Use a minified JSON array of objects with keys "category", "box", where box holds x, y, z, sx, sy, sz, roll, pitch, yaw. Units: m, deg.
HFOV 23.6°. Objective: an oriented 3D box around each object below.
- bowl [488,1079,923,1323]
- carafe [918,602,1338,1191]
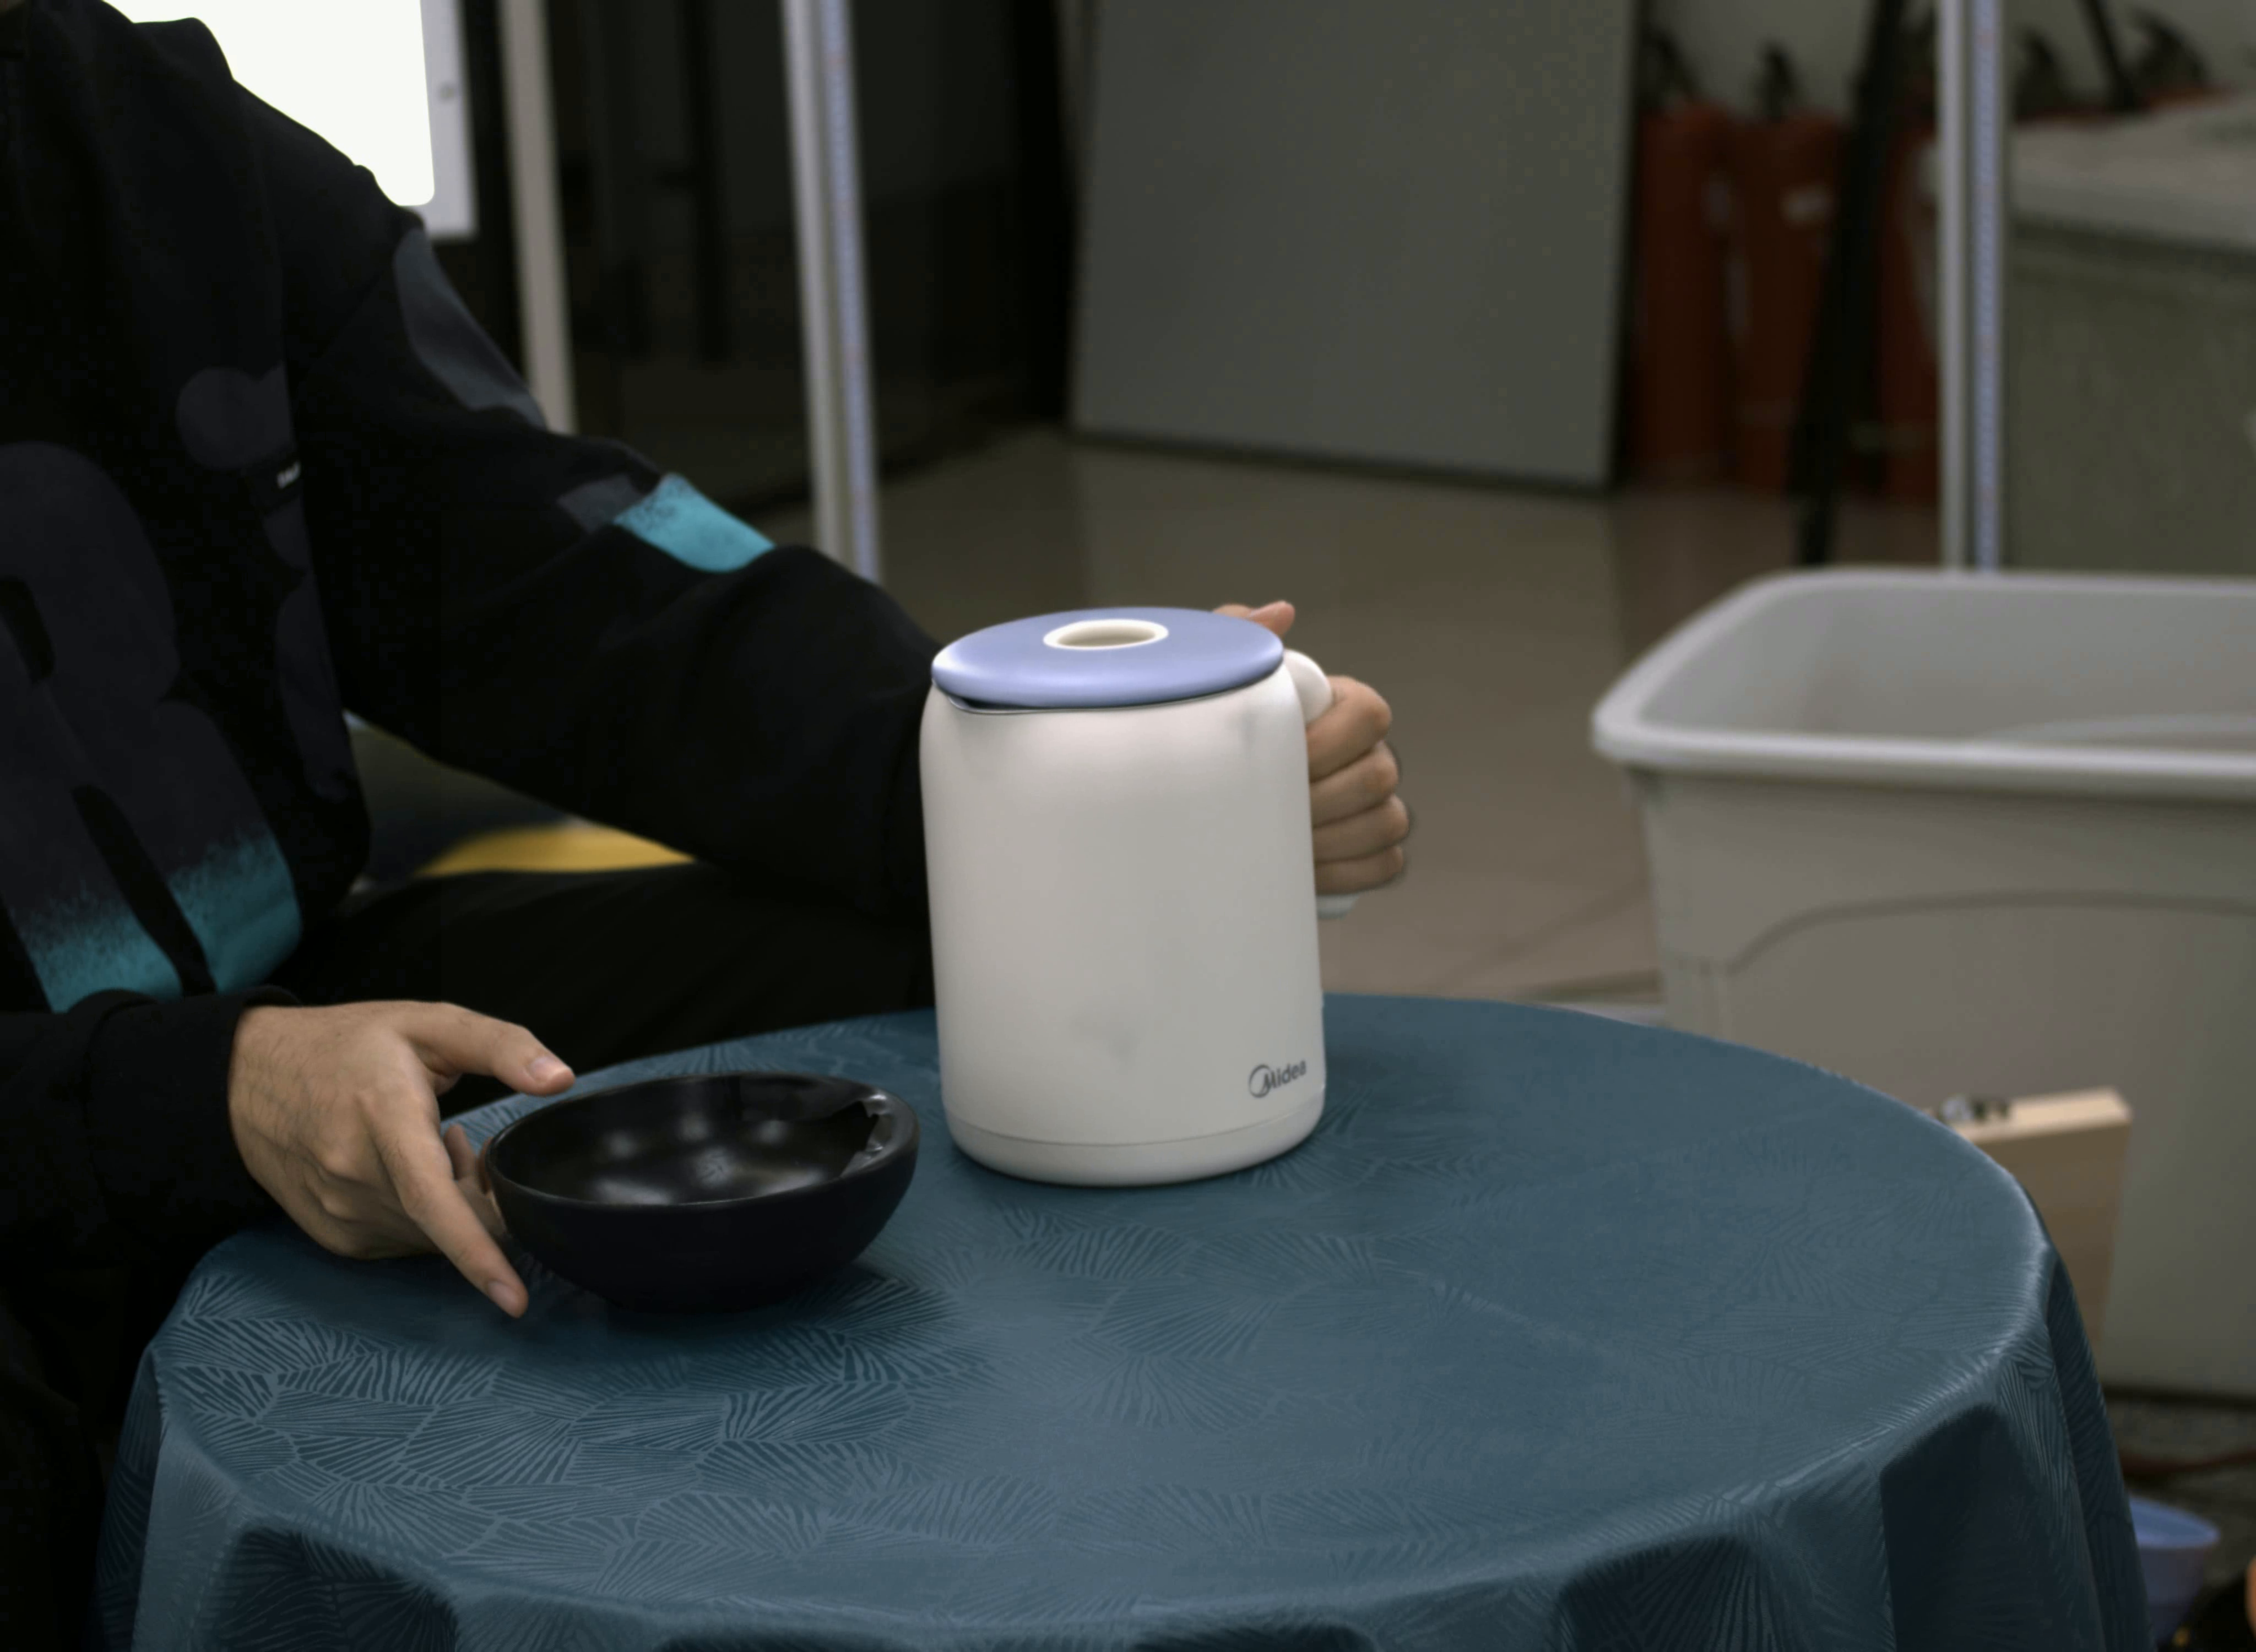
[{"category":"bowl","box":[-0.130,0.122,1.704,0.138,0.050,0.140,-6,12,0]},{"category":"carafe","box":[0.012,0.018,1.828,0.133,0.184,0.187,9,16,39]}]
